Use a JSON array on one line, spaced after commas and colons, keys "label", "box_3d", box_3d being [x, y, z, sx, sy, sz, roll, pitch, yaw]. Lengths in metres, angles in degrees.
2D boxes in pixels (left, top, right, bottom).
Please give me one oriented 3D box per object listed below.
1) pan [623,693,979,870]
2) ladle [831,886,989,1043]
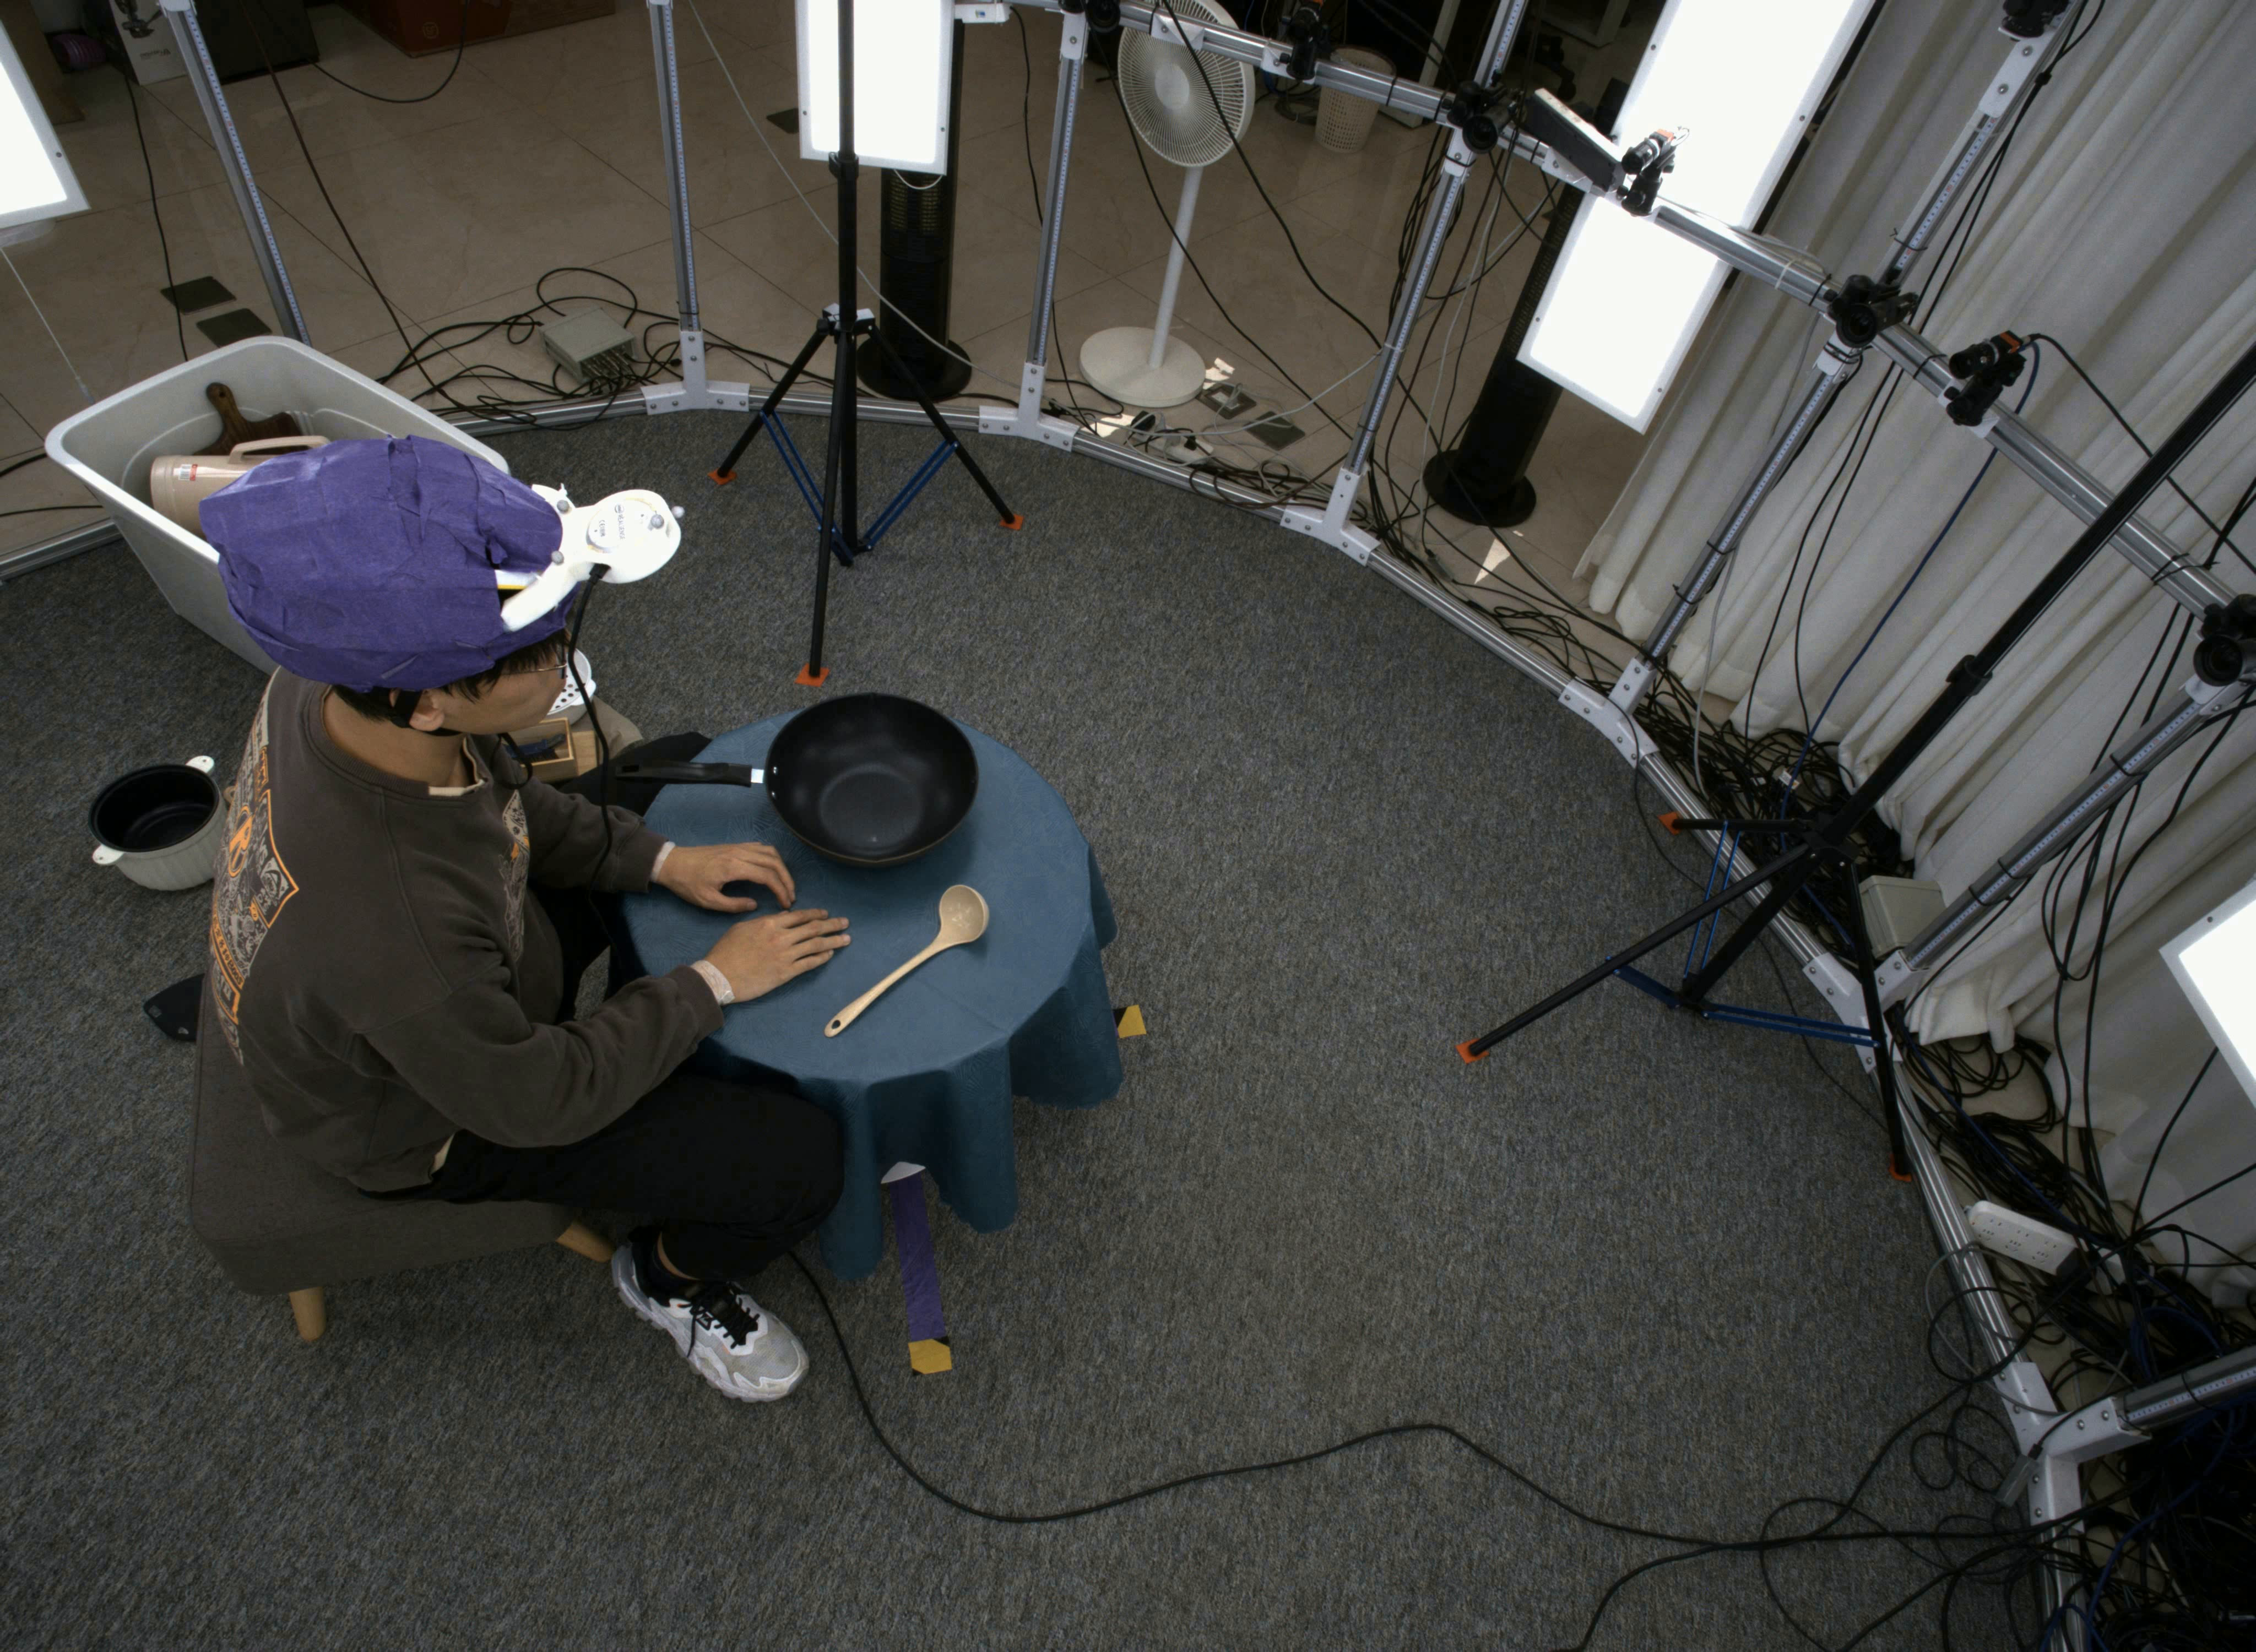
[{"label": "pan", "box_3d": [-0.429, -0.046, 1.718, 0.463, 0.089, 0.282, 0, 55, -12]}, {"label": "ladle", "box_3d": [-0.271, 0.165, 1.608, 0.071, 0.074, 0.254, 40, 55, 12]}]
